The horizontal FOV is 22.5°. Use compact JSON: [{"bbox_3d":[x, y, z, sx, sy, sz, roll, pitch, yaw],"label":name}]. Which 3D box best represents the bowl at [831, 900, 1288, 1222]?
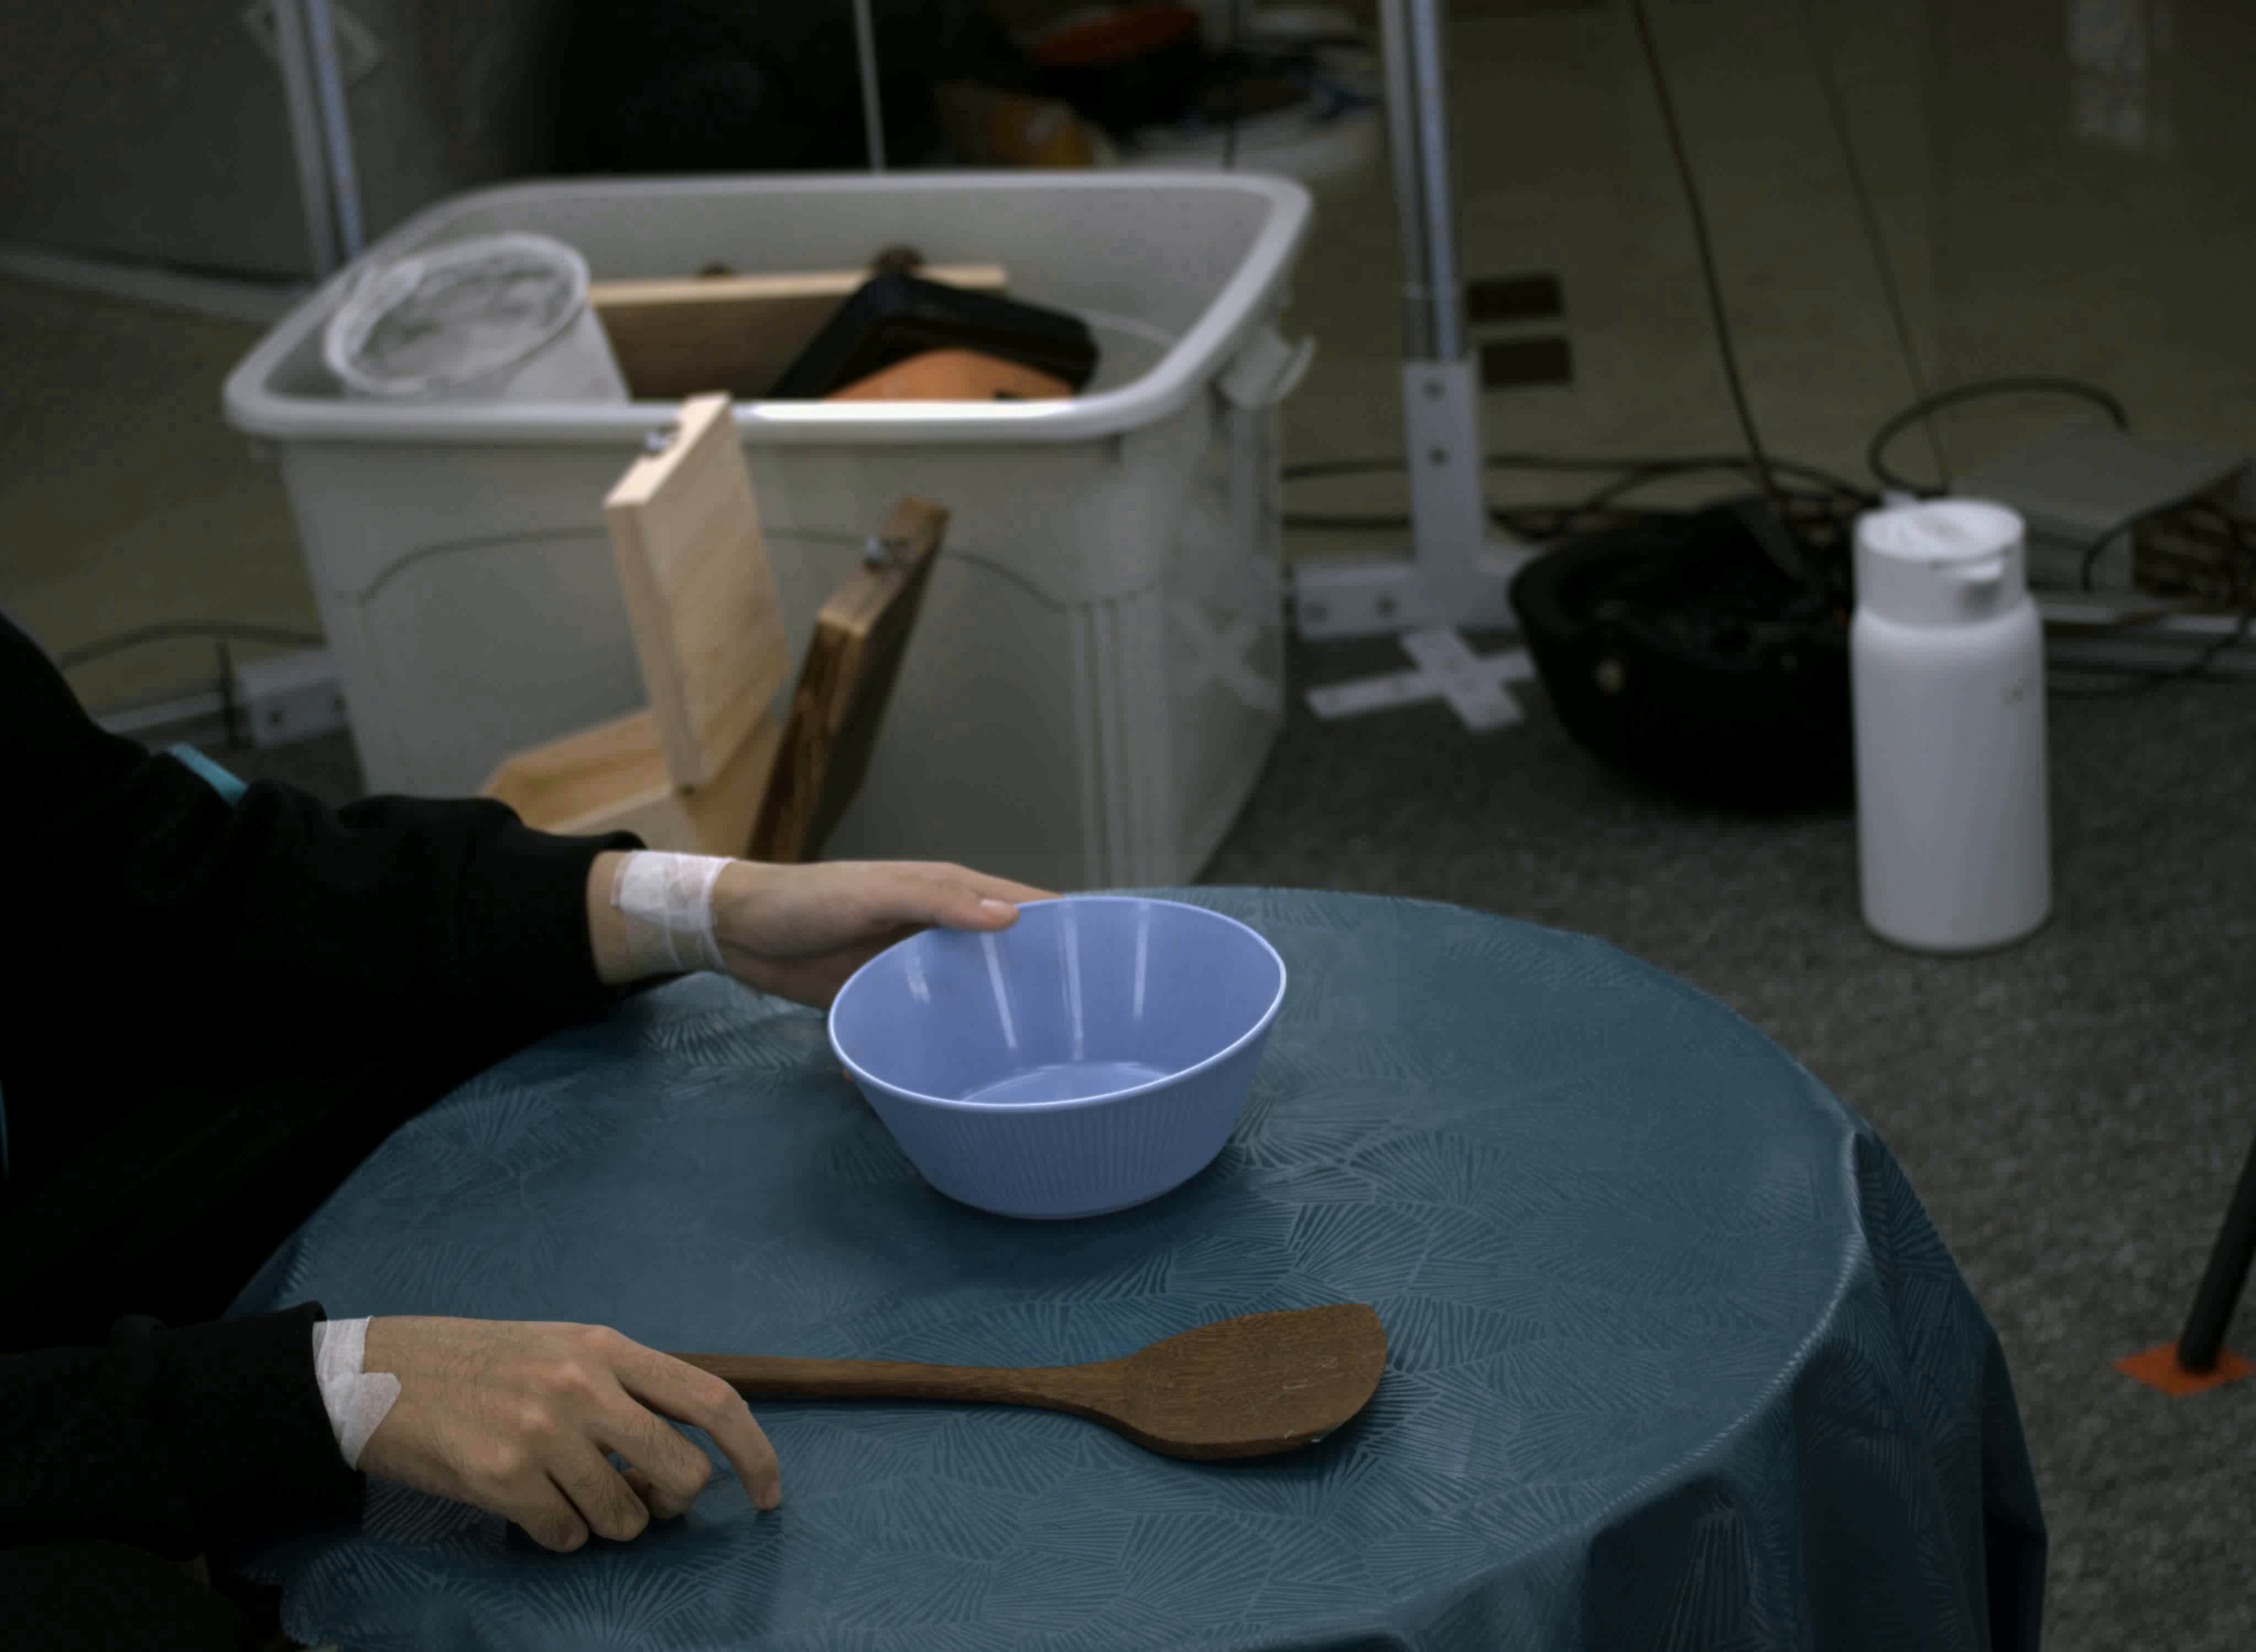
[{"bbox_3d":[-0.023,0.096,2.168,0.176,0.071,0.173,-6,25,3],"label":"bowl"}]

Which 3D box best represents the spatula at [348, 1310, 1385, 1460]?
[{"bbox_3d":[-0.098,0.198,2.033,0.385,0.016,0.095,0,25,13],"label":"spatula"}]
